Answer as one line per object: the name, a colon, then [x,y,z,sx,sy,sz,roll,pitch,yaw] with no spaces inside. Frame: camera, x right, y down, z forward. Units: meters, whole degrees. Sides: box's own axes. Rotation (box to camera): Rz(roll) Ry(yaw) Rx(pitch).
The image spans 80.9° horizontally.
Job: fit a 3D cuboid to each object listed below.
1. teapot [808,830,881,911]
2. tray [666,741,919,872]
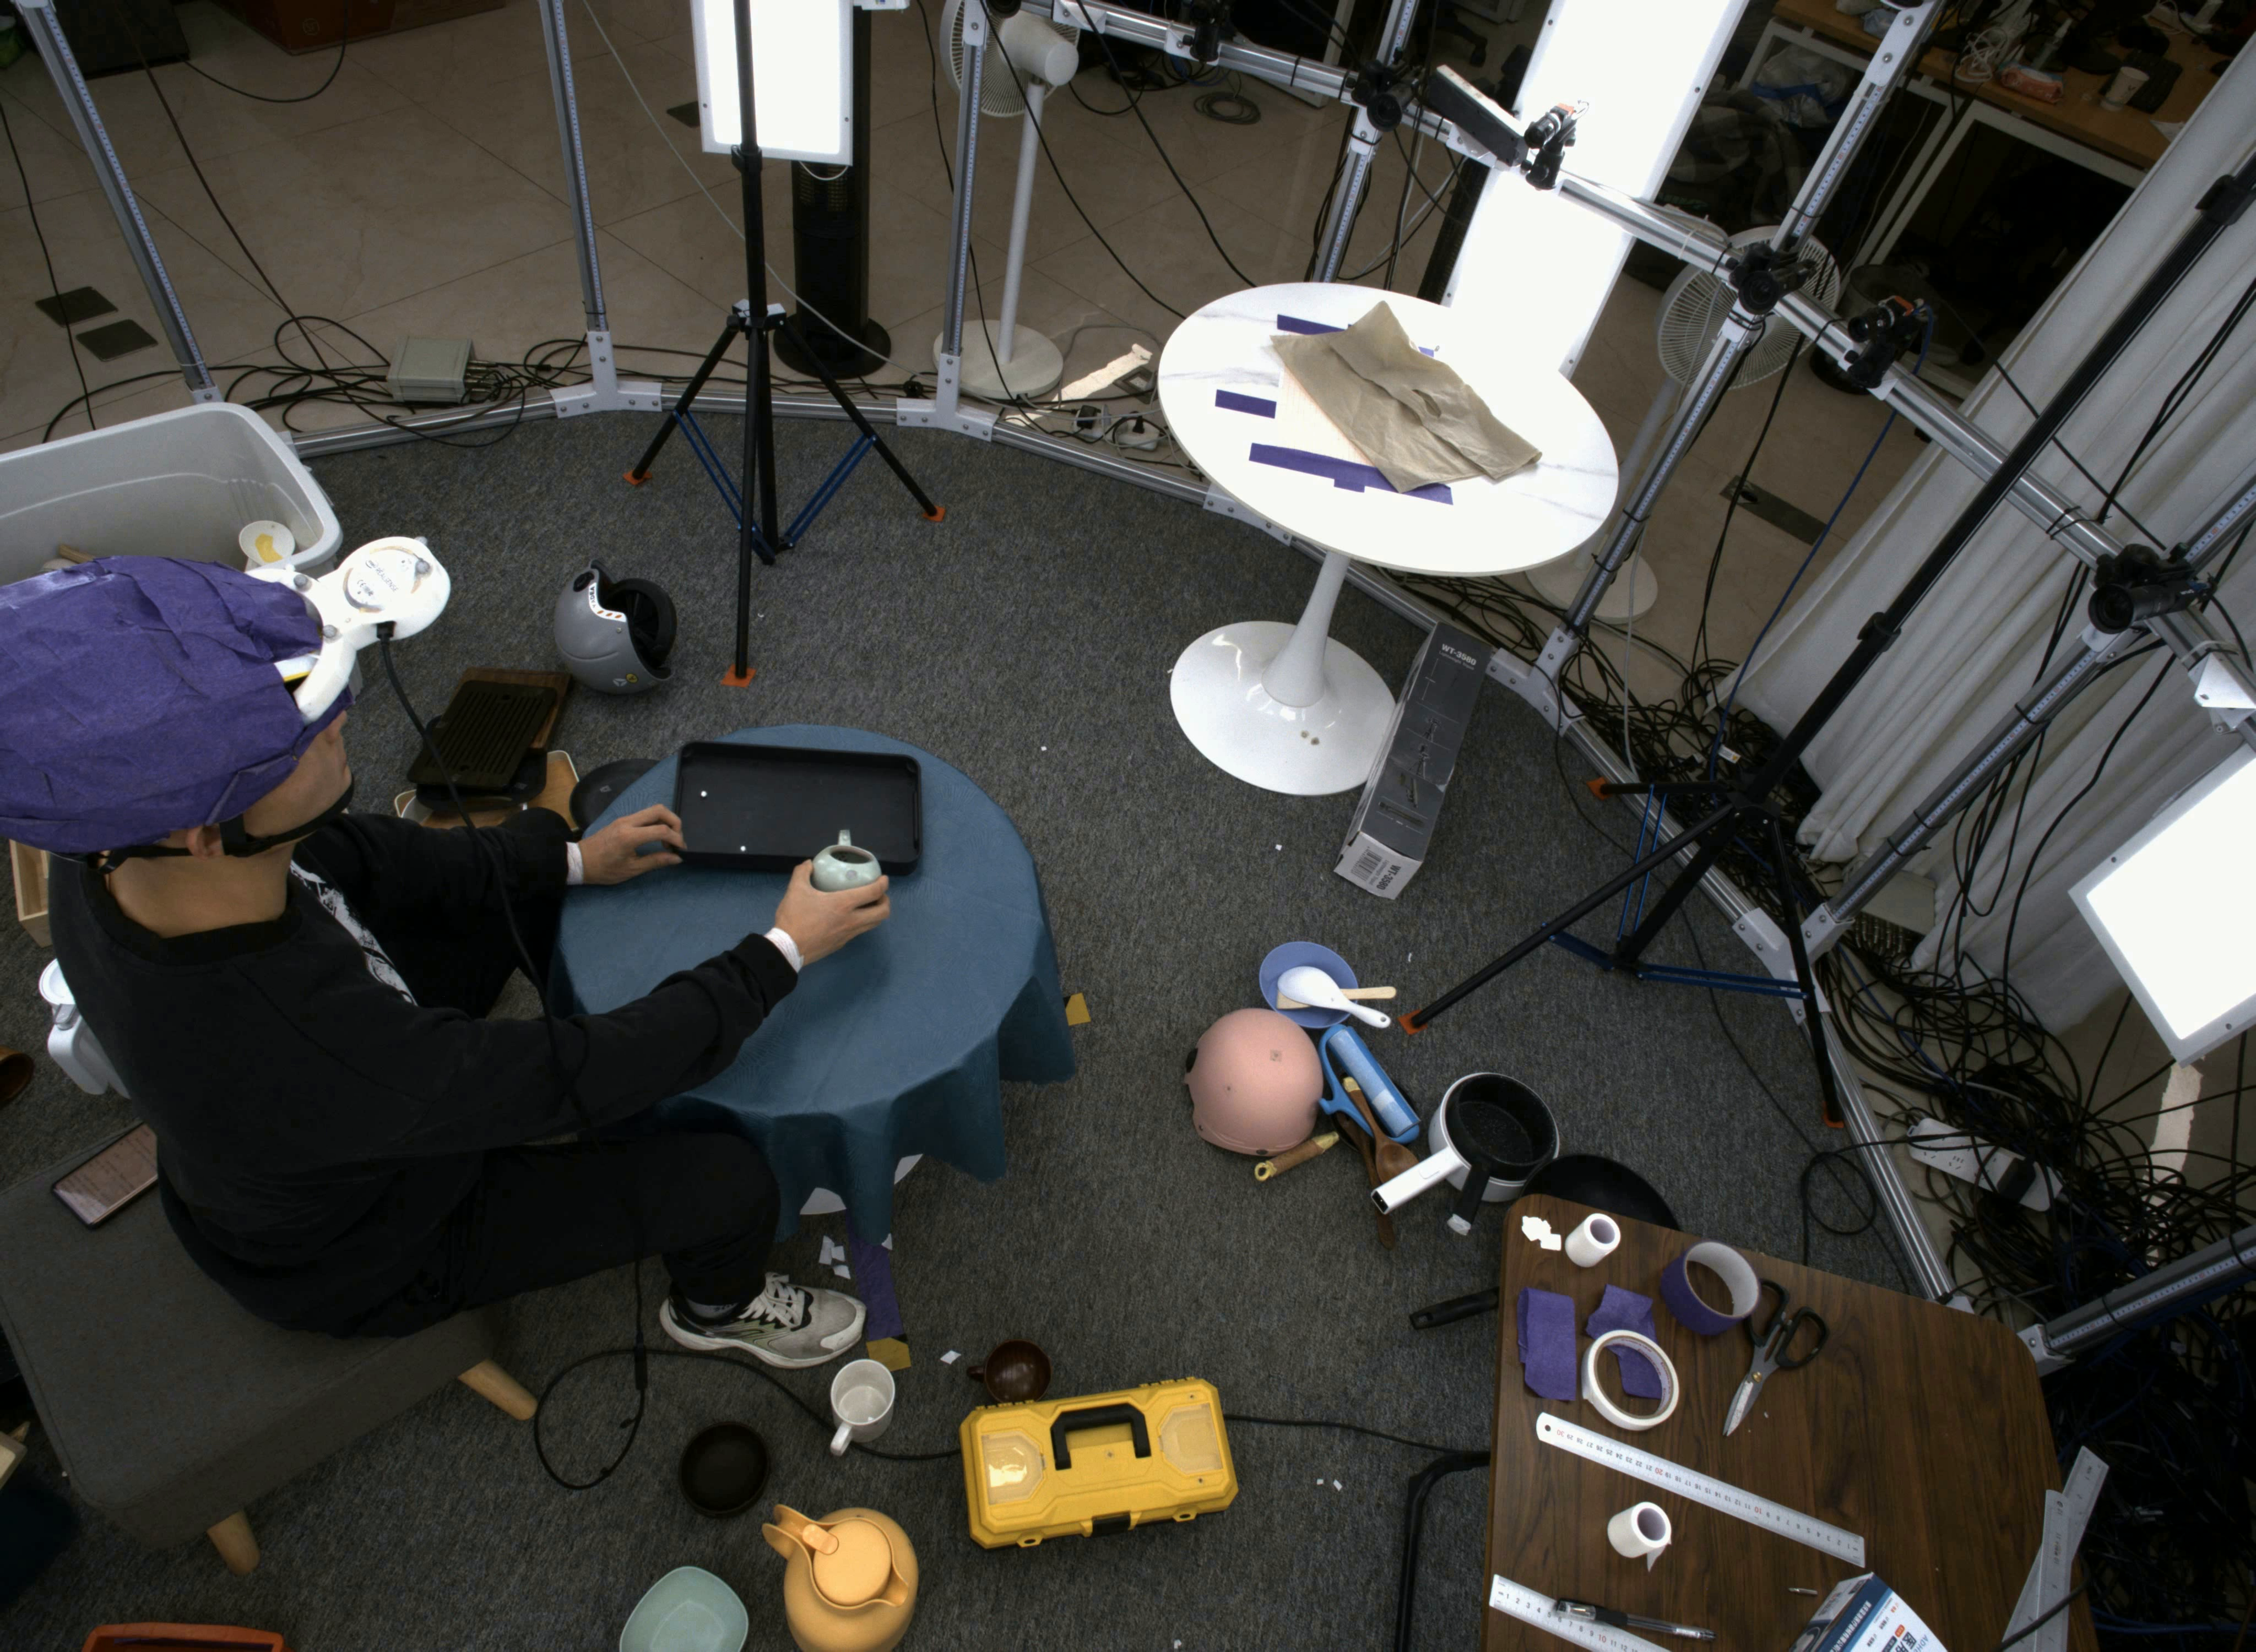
teapot: [-0.345,0.059,1.580,0.089,0.076,0.139,7,18,-20]
tray: [-0.438,-0.026,1.699,0.320,0.037,0.180,2,54,-19]
